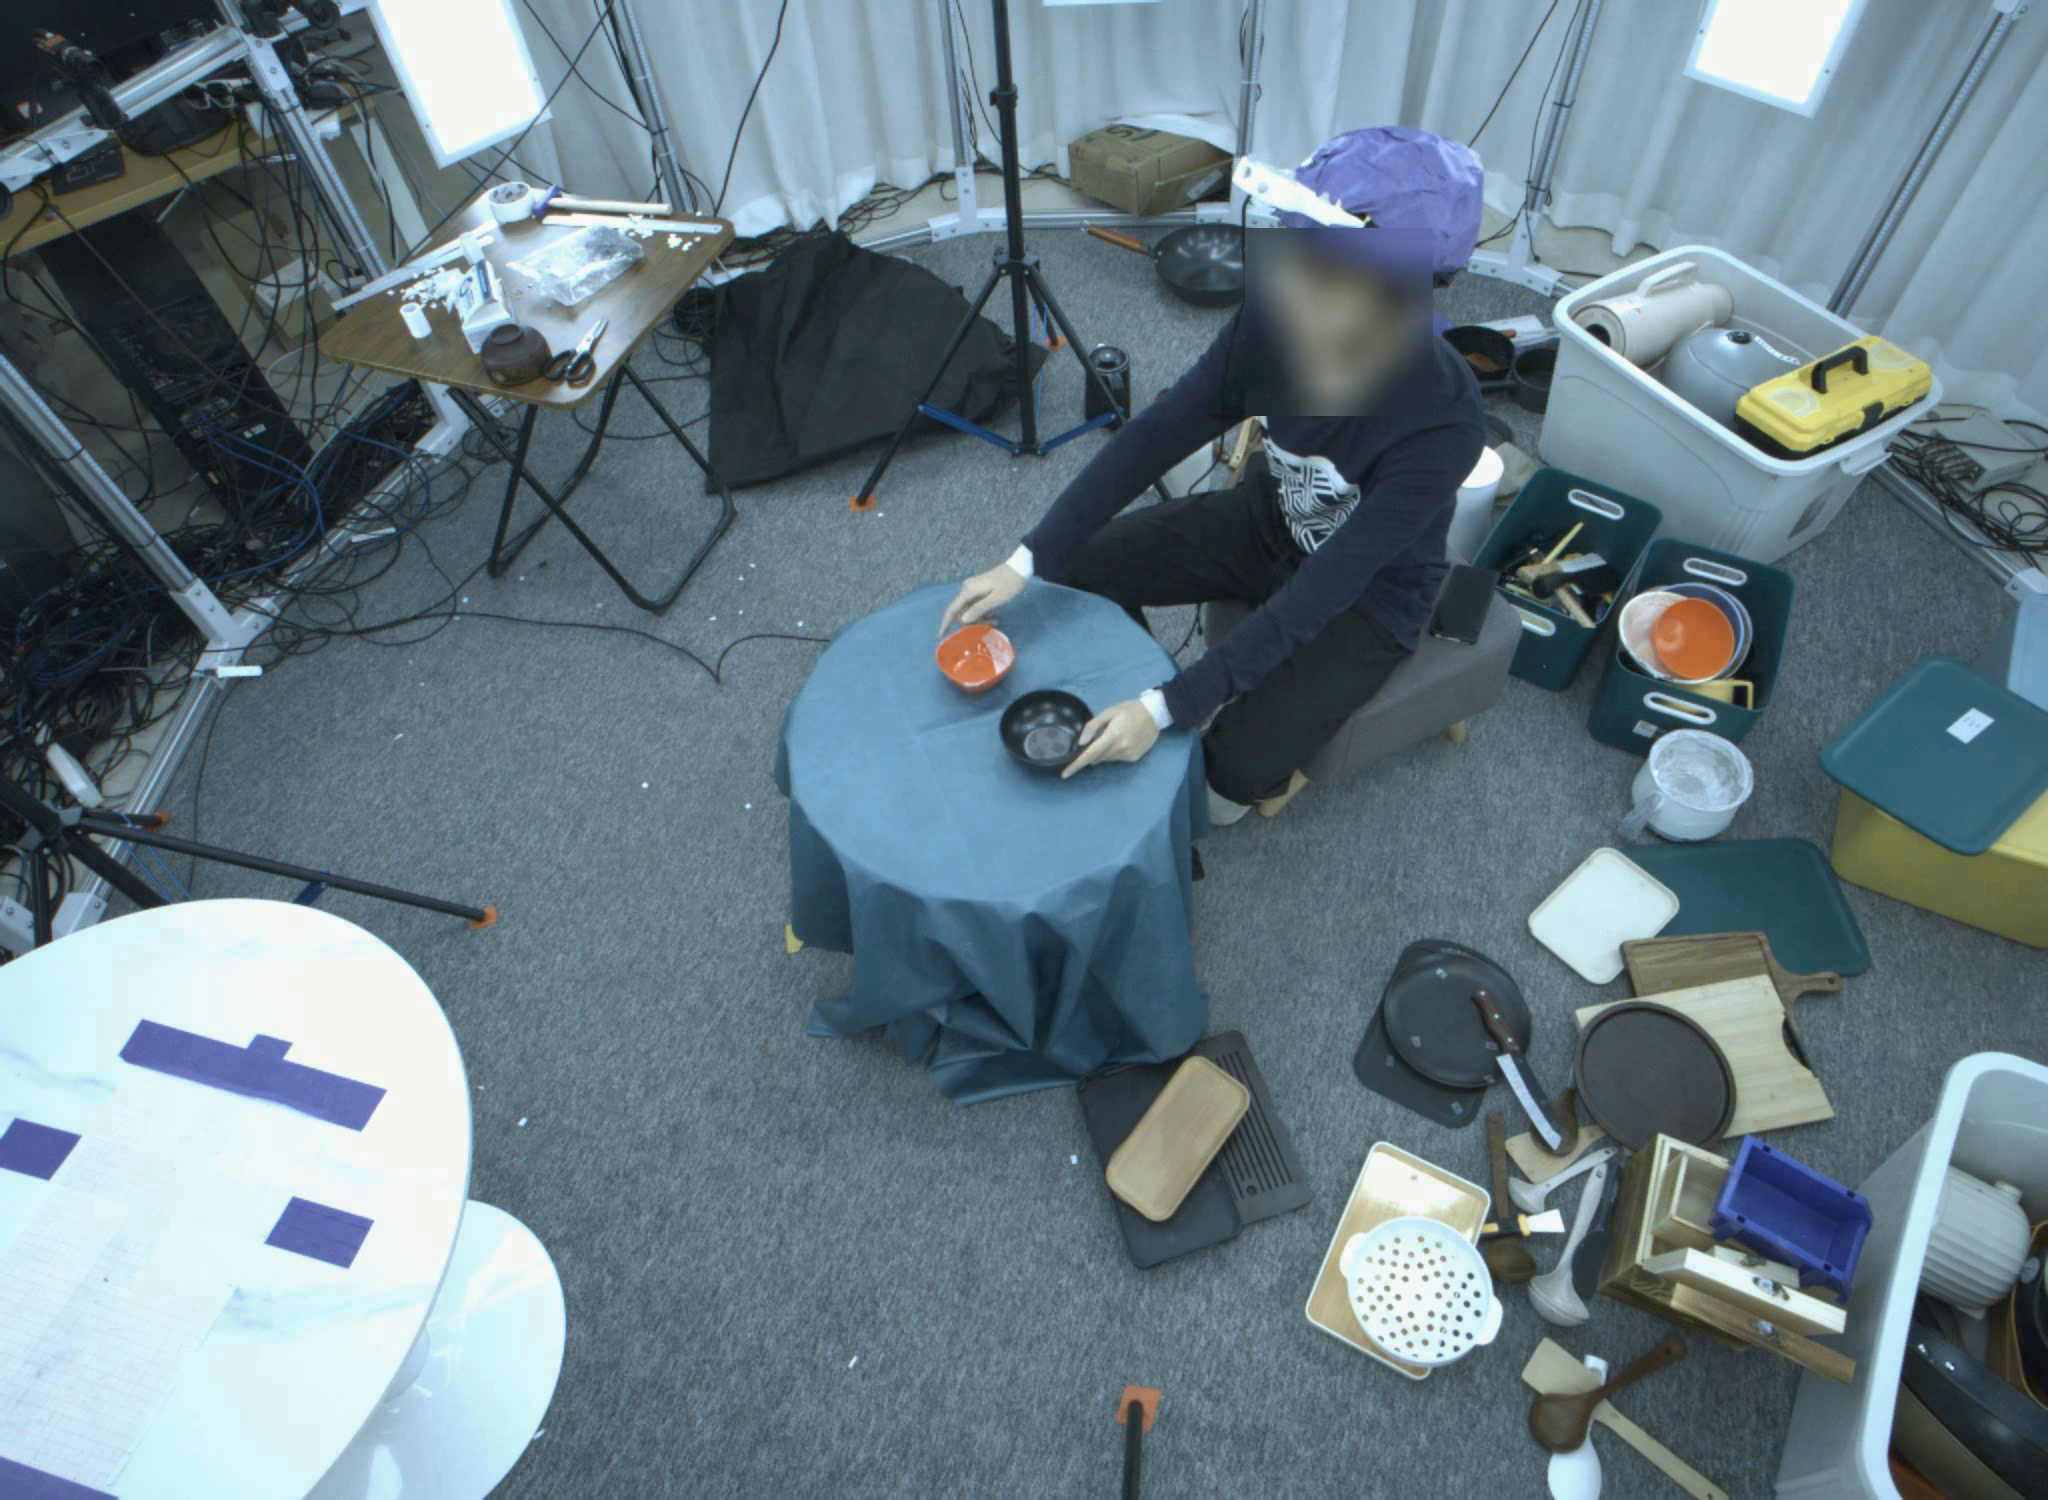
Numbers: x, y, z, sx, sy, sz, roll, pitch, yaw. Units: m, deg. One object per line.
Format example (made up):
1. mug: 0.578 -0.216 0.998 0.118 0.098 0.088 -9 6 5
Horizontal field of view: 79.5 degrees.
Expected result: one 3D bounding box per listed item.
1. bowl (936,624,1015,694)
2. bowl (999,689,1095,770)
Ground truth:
1. bowl: -0.072 -0.131 1.858 0.119 0.052 0.117 -1 54 3
2. bowl: 0.033 -0.020 1.781 0.140 0.050 0.138 2 52 -1
